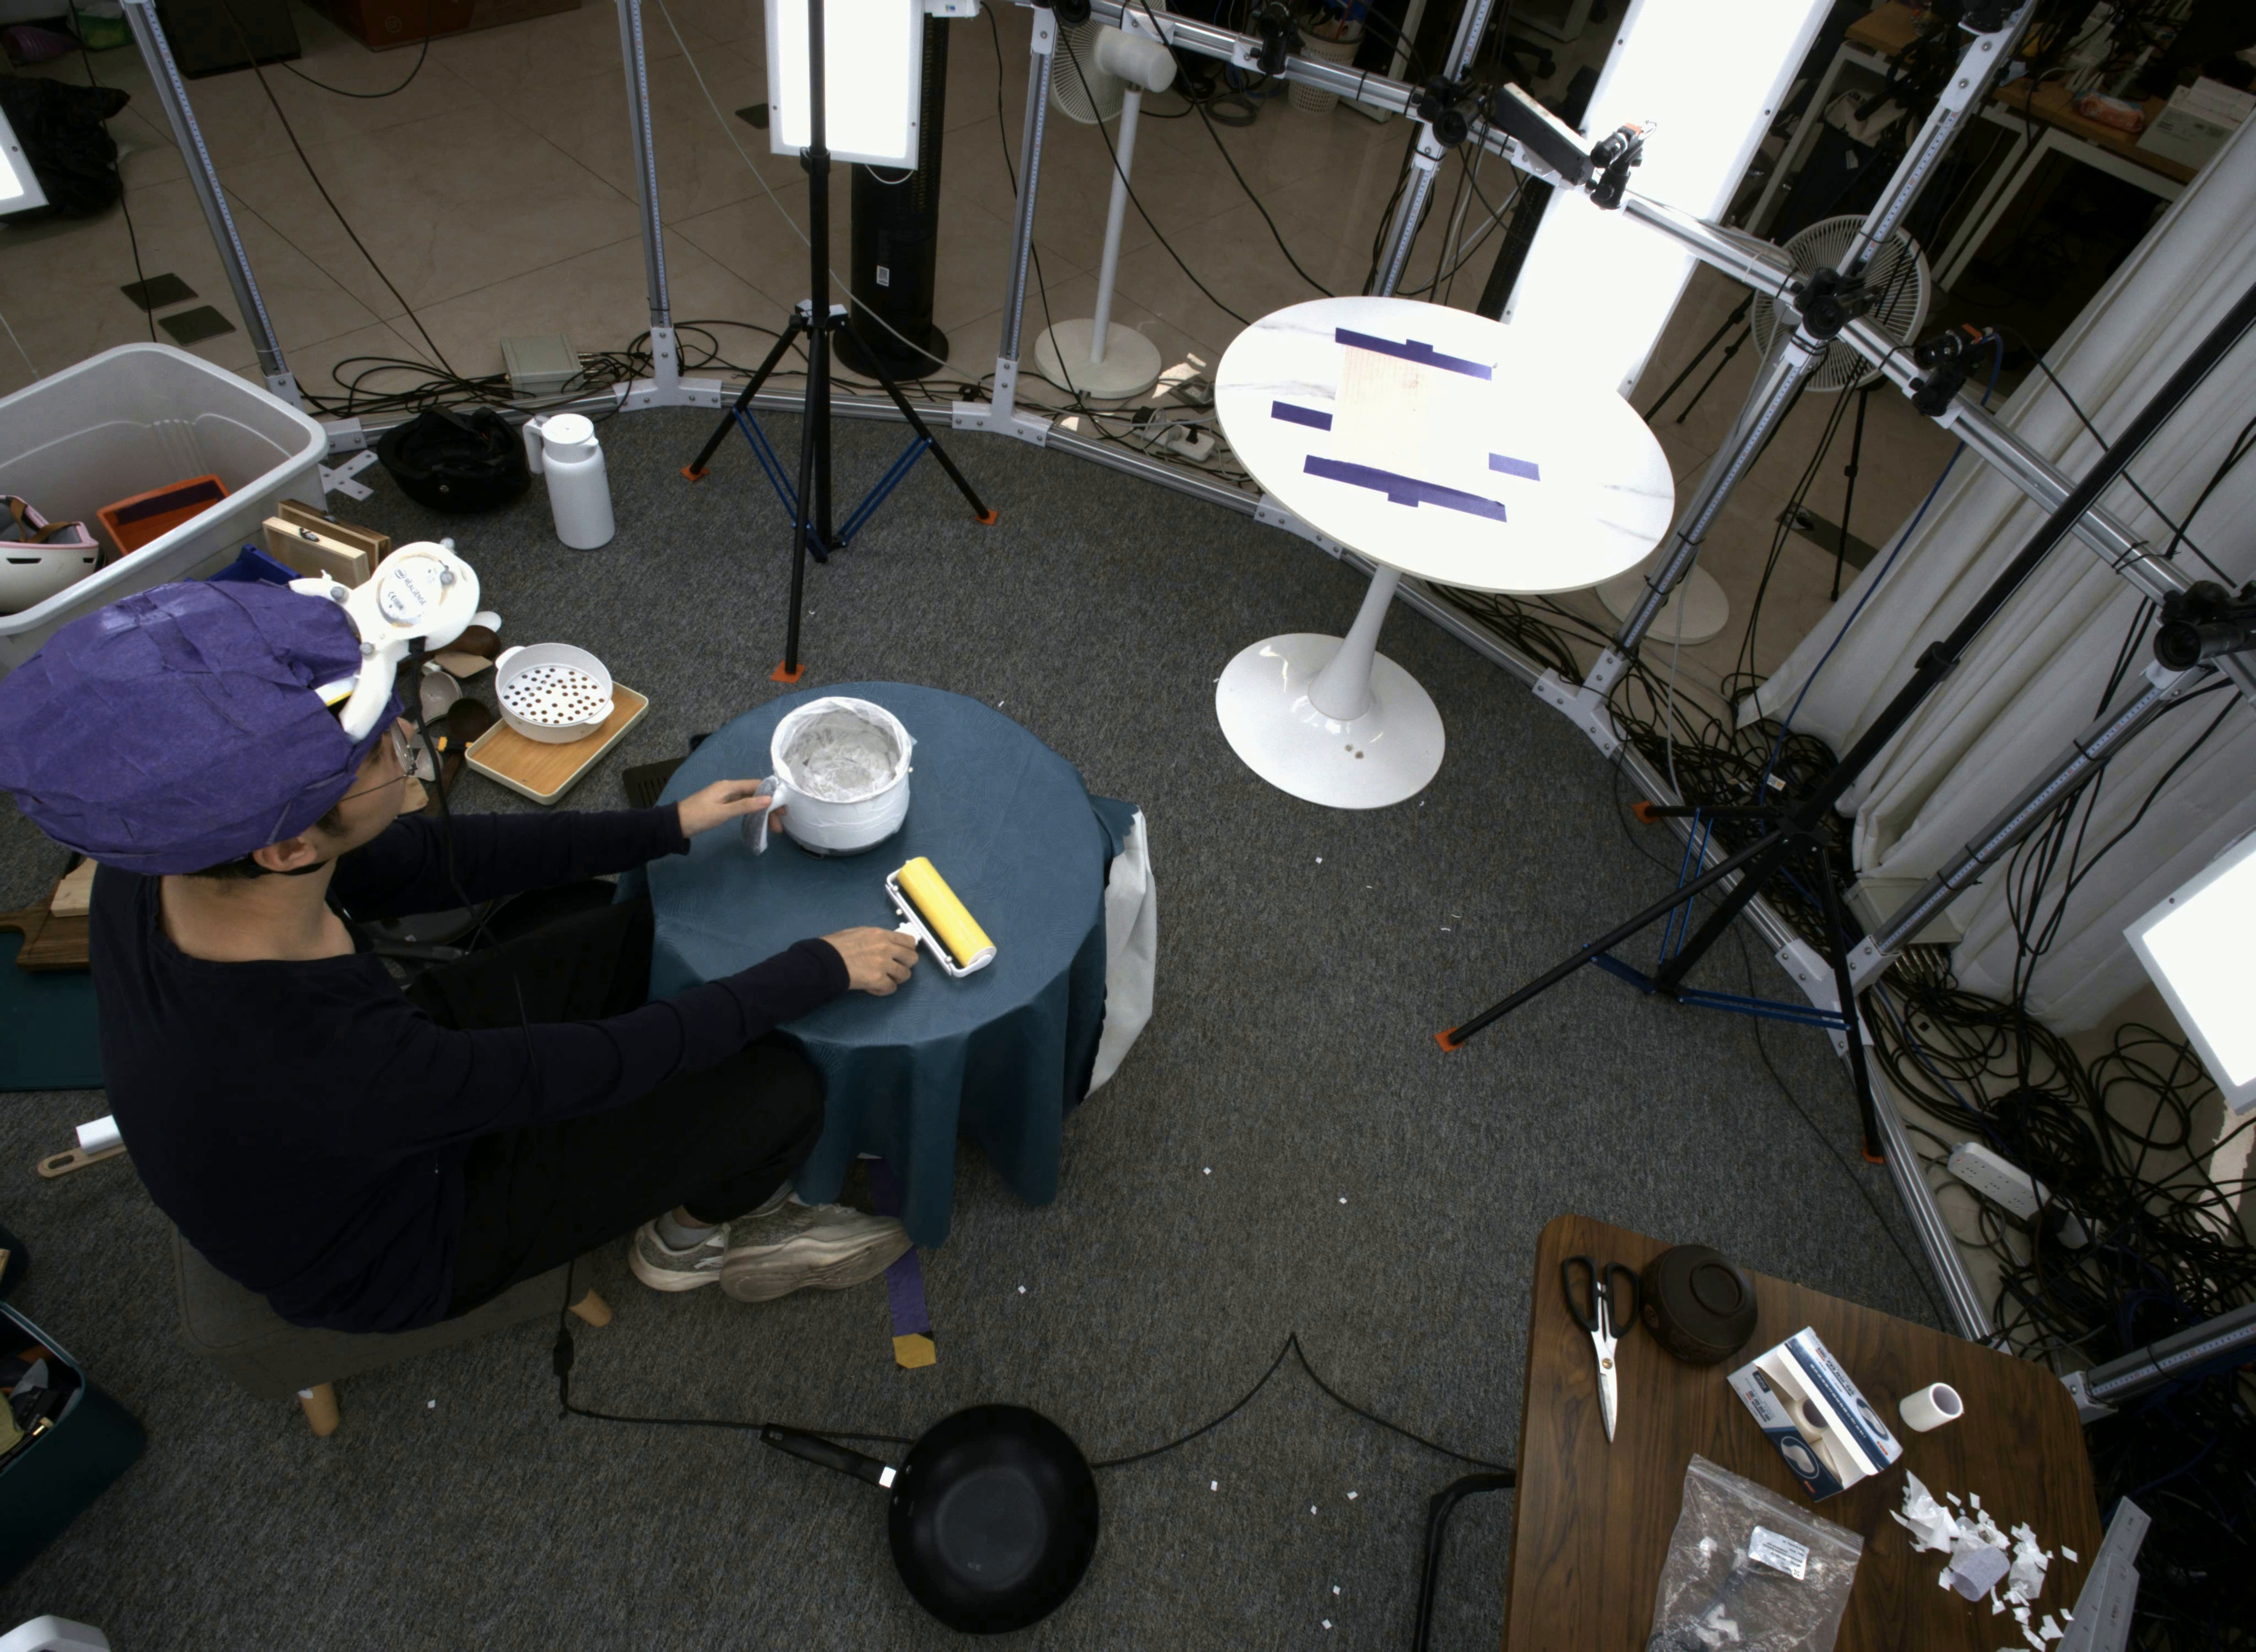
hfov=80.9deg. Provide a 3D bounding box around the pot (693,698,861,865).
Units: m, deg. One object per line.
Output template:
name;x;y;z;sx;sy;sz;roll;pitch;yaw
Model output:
pot;-0.455;-0.044;1.667;0.174;0.139;0.234;41;53;20

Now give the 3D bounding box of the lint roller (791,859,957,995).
lint roller;-0.337;0.143;1.619;0.193;0.052;0.170;-31;66;-33
